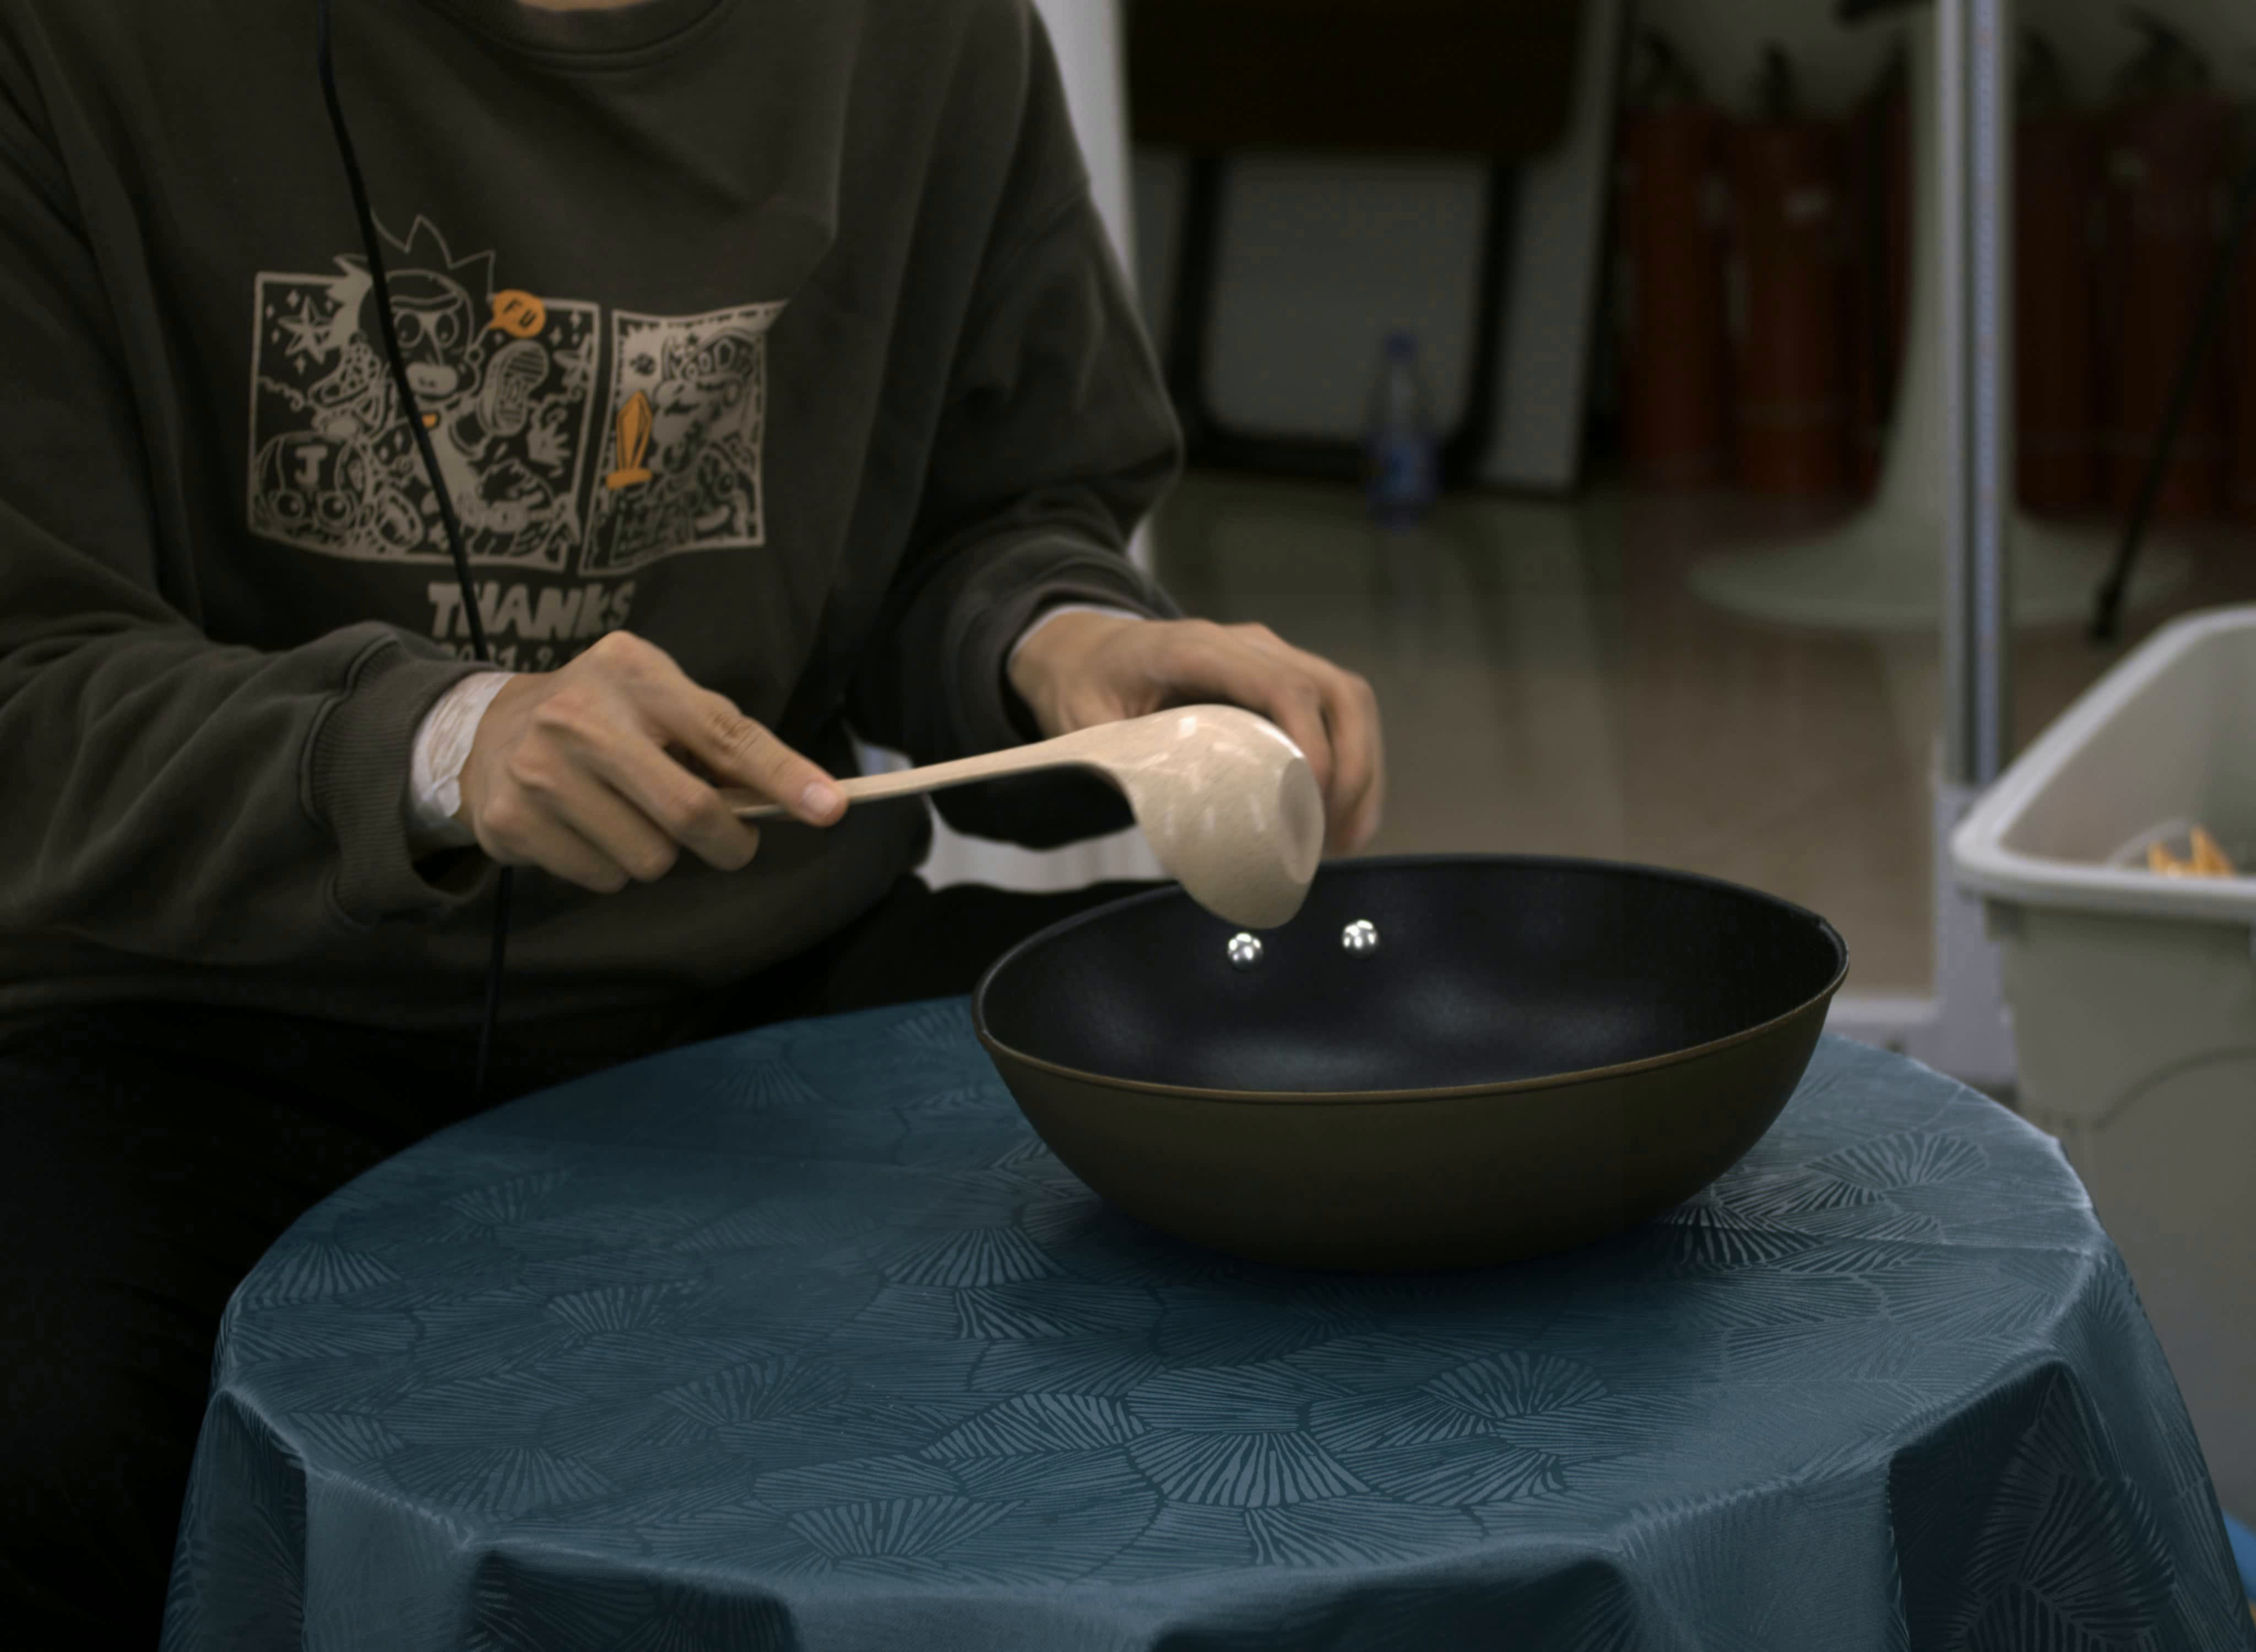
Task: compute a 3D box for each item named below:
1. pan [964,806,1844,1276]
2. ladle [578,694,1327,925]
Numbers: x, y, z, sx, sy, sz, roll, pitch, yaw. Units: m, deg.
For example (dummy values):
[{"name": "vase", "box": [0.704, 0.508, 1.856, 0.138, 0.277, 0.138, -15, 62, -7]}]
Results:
[{"name": "pan", "box": [0.068, 0.066, 1.815, 0.283, 0.088, 0.466, -7, 12, -12]}, {"name": "ladle", "box": [-0.056, 0.007, 1.714, 0.255, 0.073, 0.072, -8, 28, 29]}]
